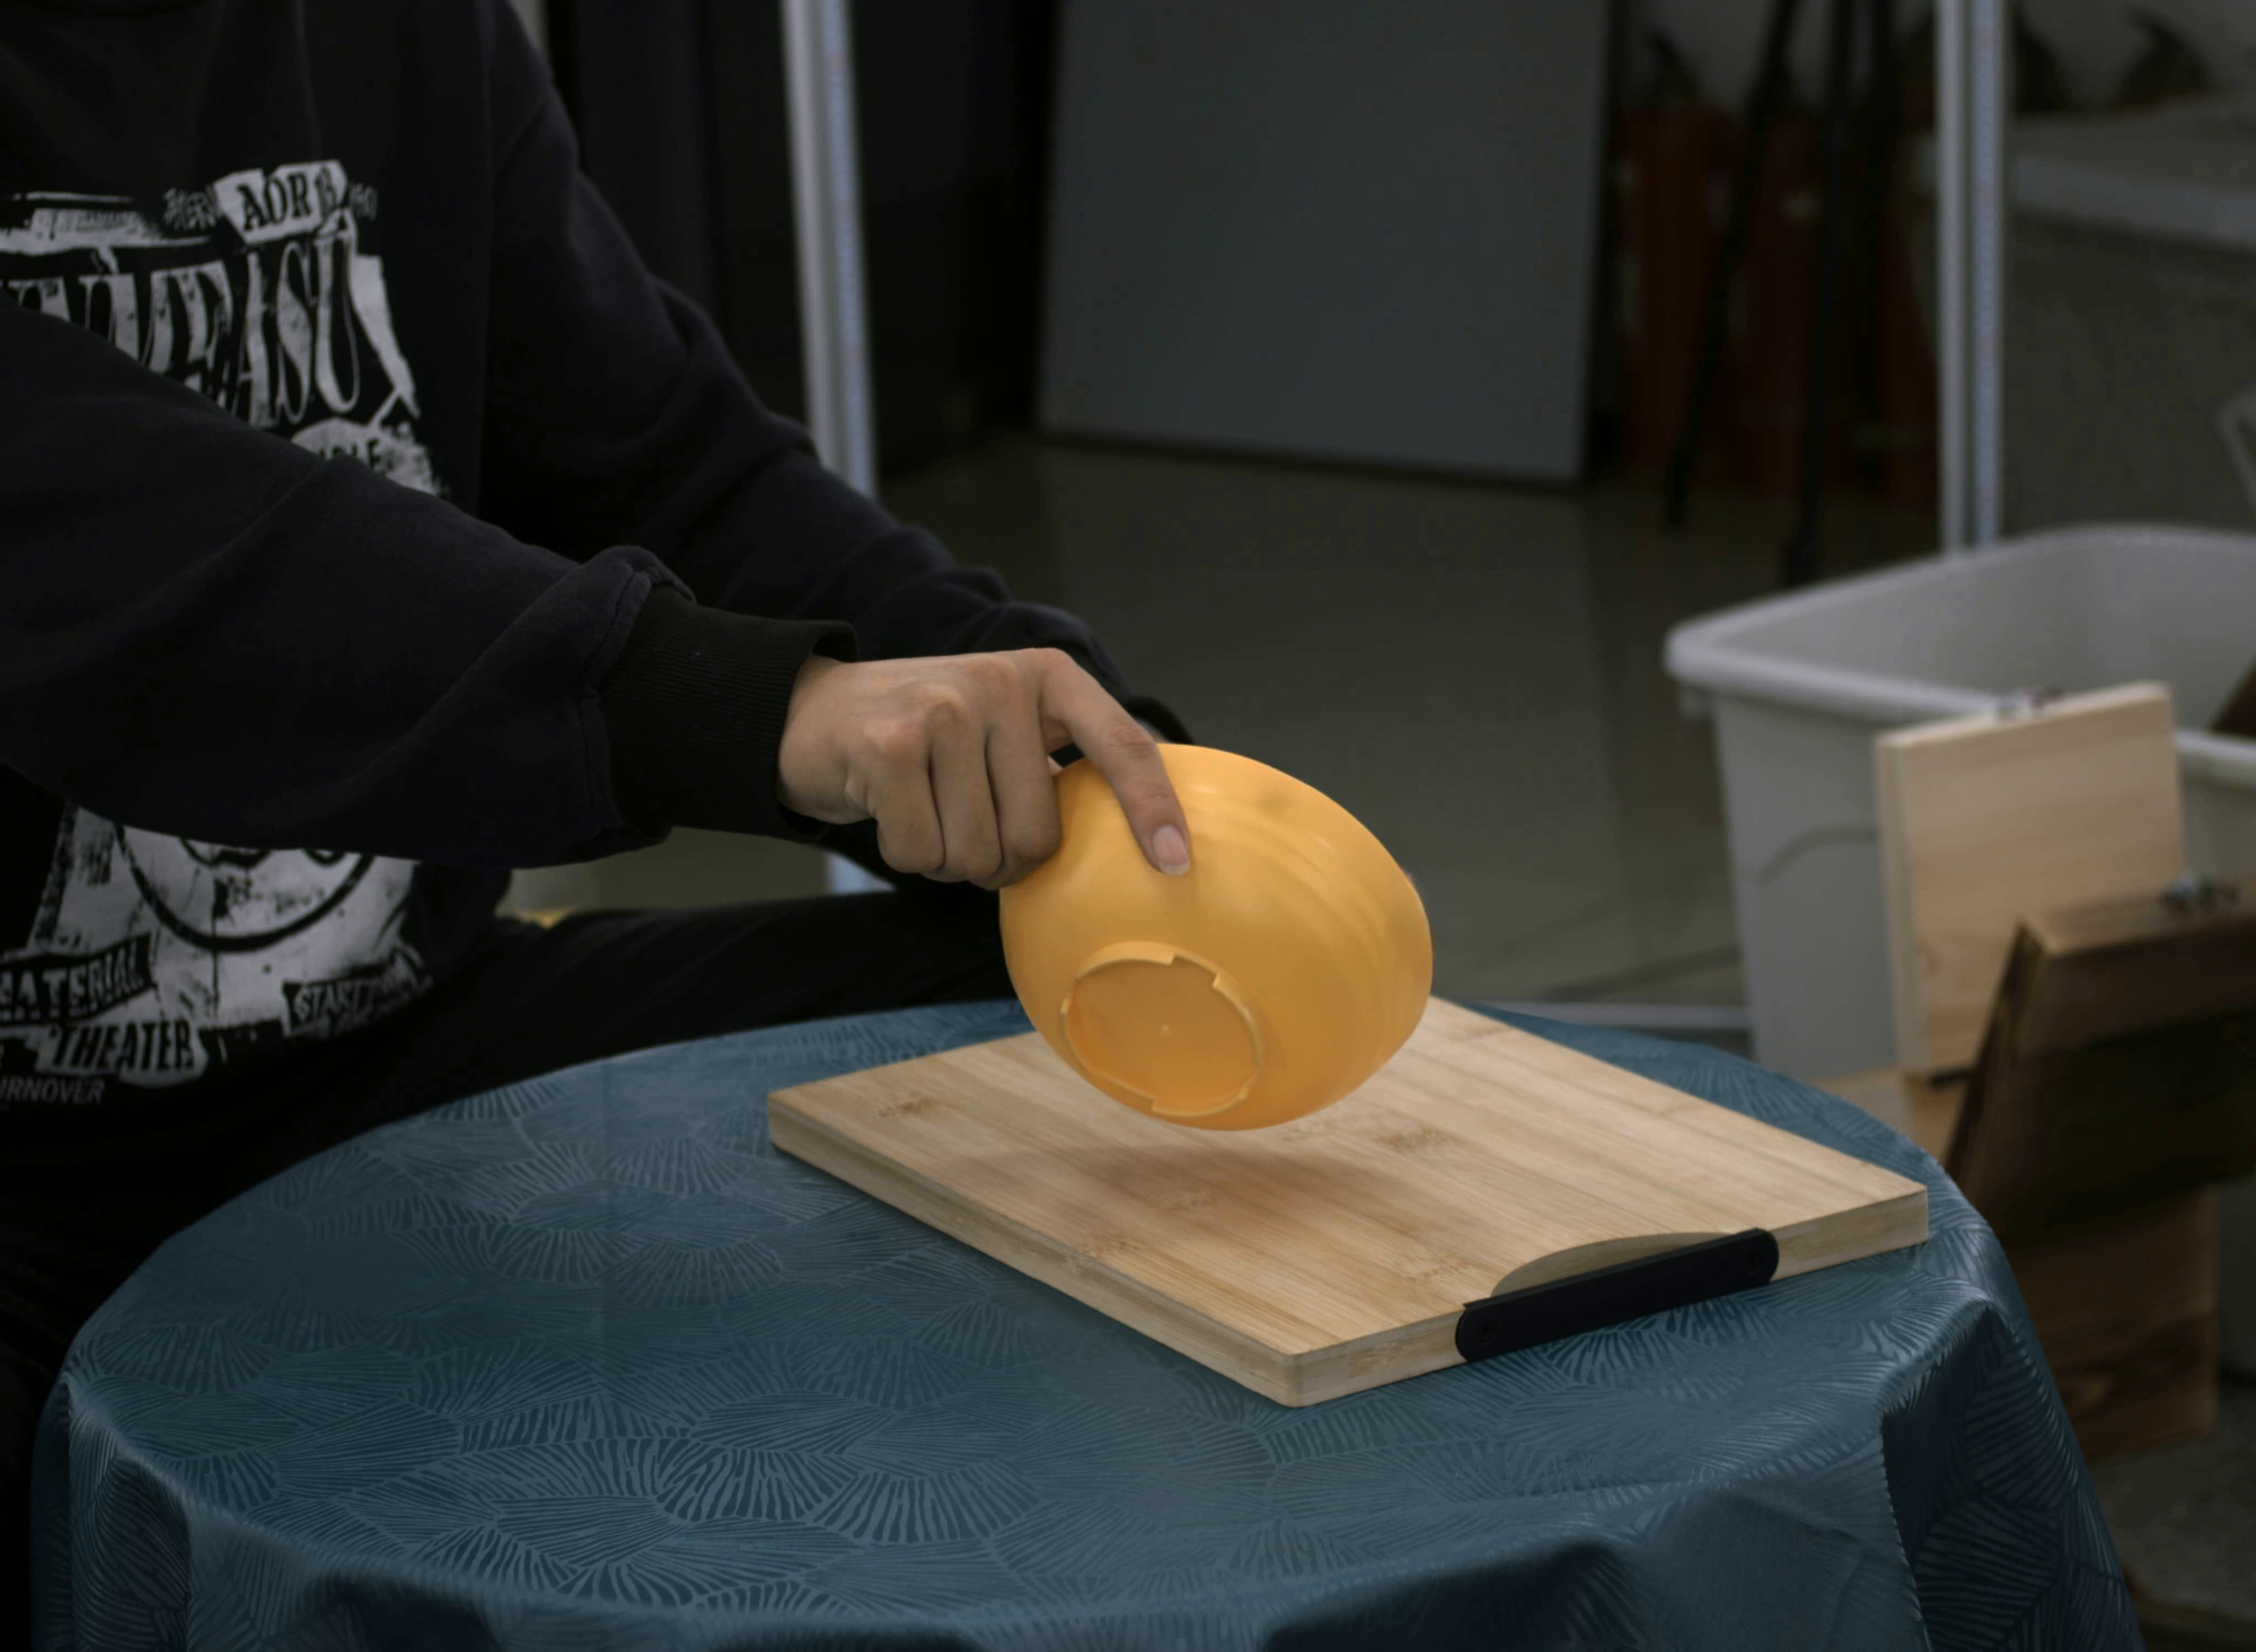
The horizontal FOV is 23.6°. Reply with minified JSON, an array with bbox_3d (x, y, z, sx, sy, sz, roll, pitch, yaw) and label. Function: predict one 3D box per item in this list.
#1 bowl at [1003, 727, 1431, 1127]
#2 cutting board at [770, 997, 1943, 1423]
[{"bbox_3d":[0.019,0.045,1.684,0.145,0.145,0.060,3,38,24],"label":"bowl"},{"bbox_3d":[0.065,0.113,1.752,0.245,0.024,0.352,-12,16,-29],"label":"cutting board"}]
